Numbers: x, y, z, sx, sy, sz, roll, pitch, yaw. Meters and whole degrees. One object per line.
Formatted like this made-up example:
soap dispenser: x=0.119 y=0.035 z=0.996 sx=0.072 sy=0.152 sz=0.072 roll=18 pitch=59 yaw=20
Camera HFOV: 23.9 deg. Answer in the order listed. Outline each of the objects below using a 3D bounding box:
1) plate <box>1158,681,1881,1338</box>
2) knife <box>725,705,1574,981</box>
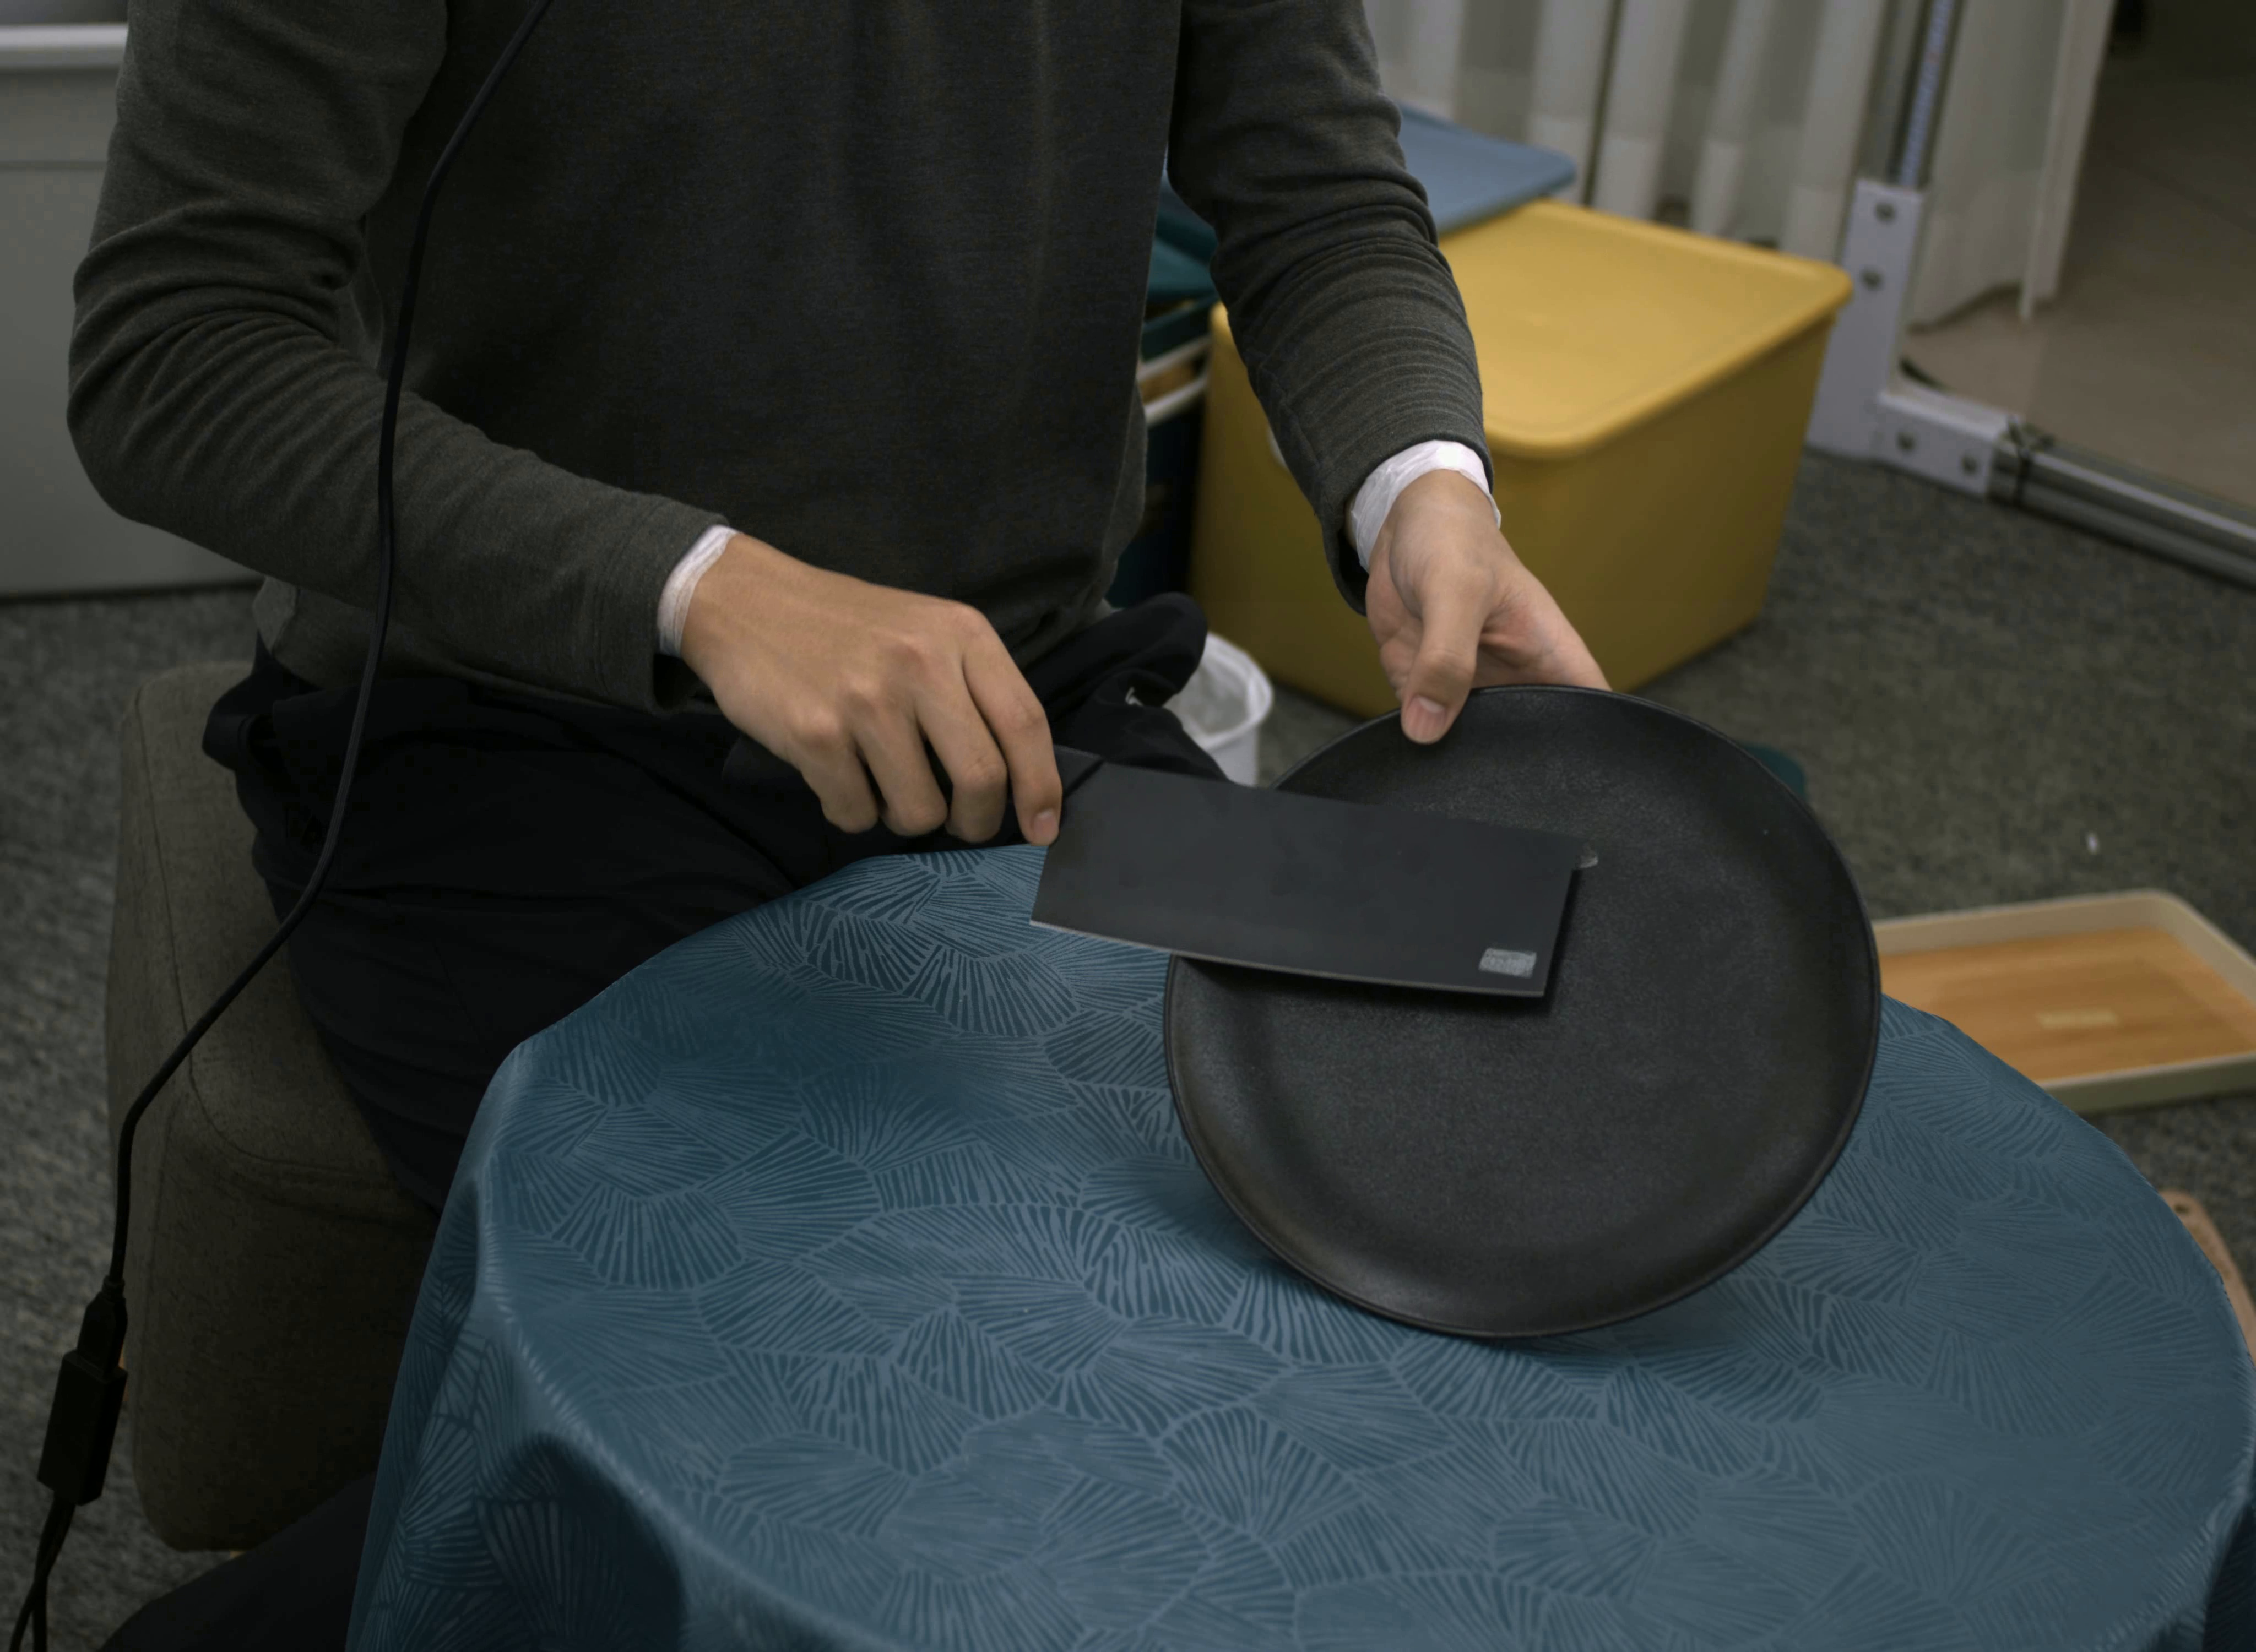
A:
plate: x=0.132 y=0.063 z=1.800 sx=0.244 sy=0.023 sz=0.246 roll=-4 pitch=62 yaw=8
knife: x=0.004 y=0.003 z=1.842 sx=0.303 sy=0.021 sz=0.081 roll=13 pitch=65 yaw=15
